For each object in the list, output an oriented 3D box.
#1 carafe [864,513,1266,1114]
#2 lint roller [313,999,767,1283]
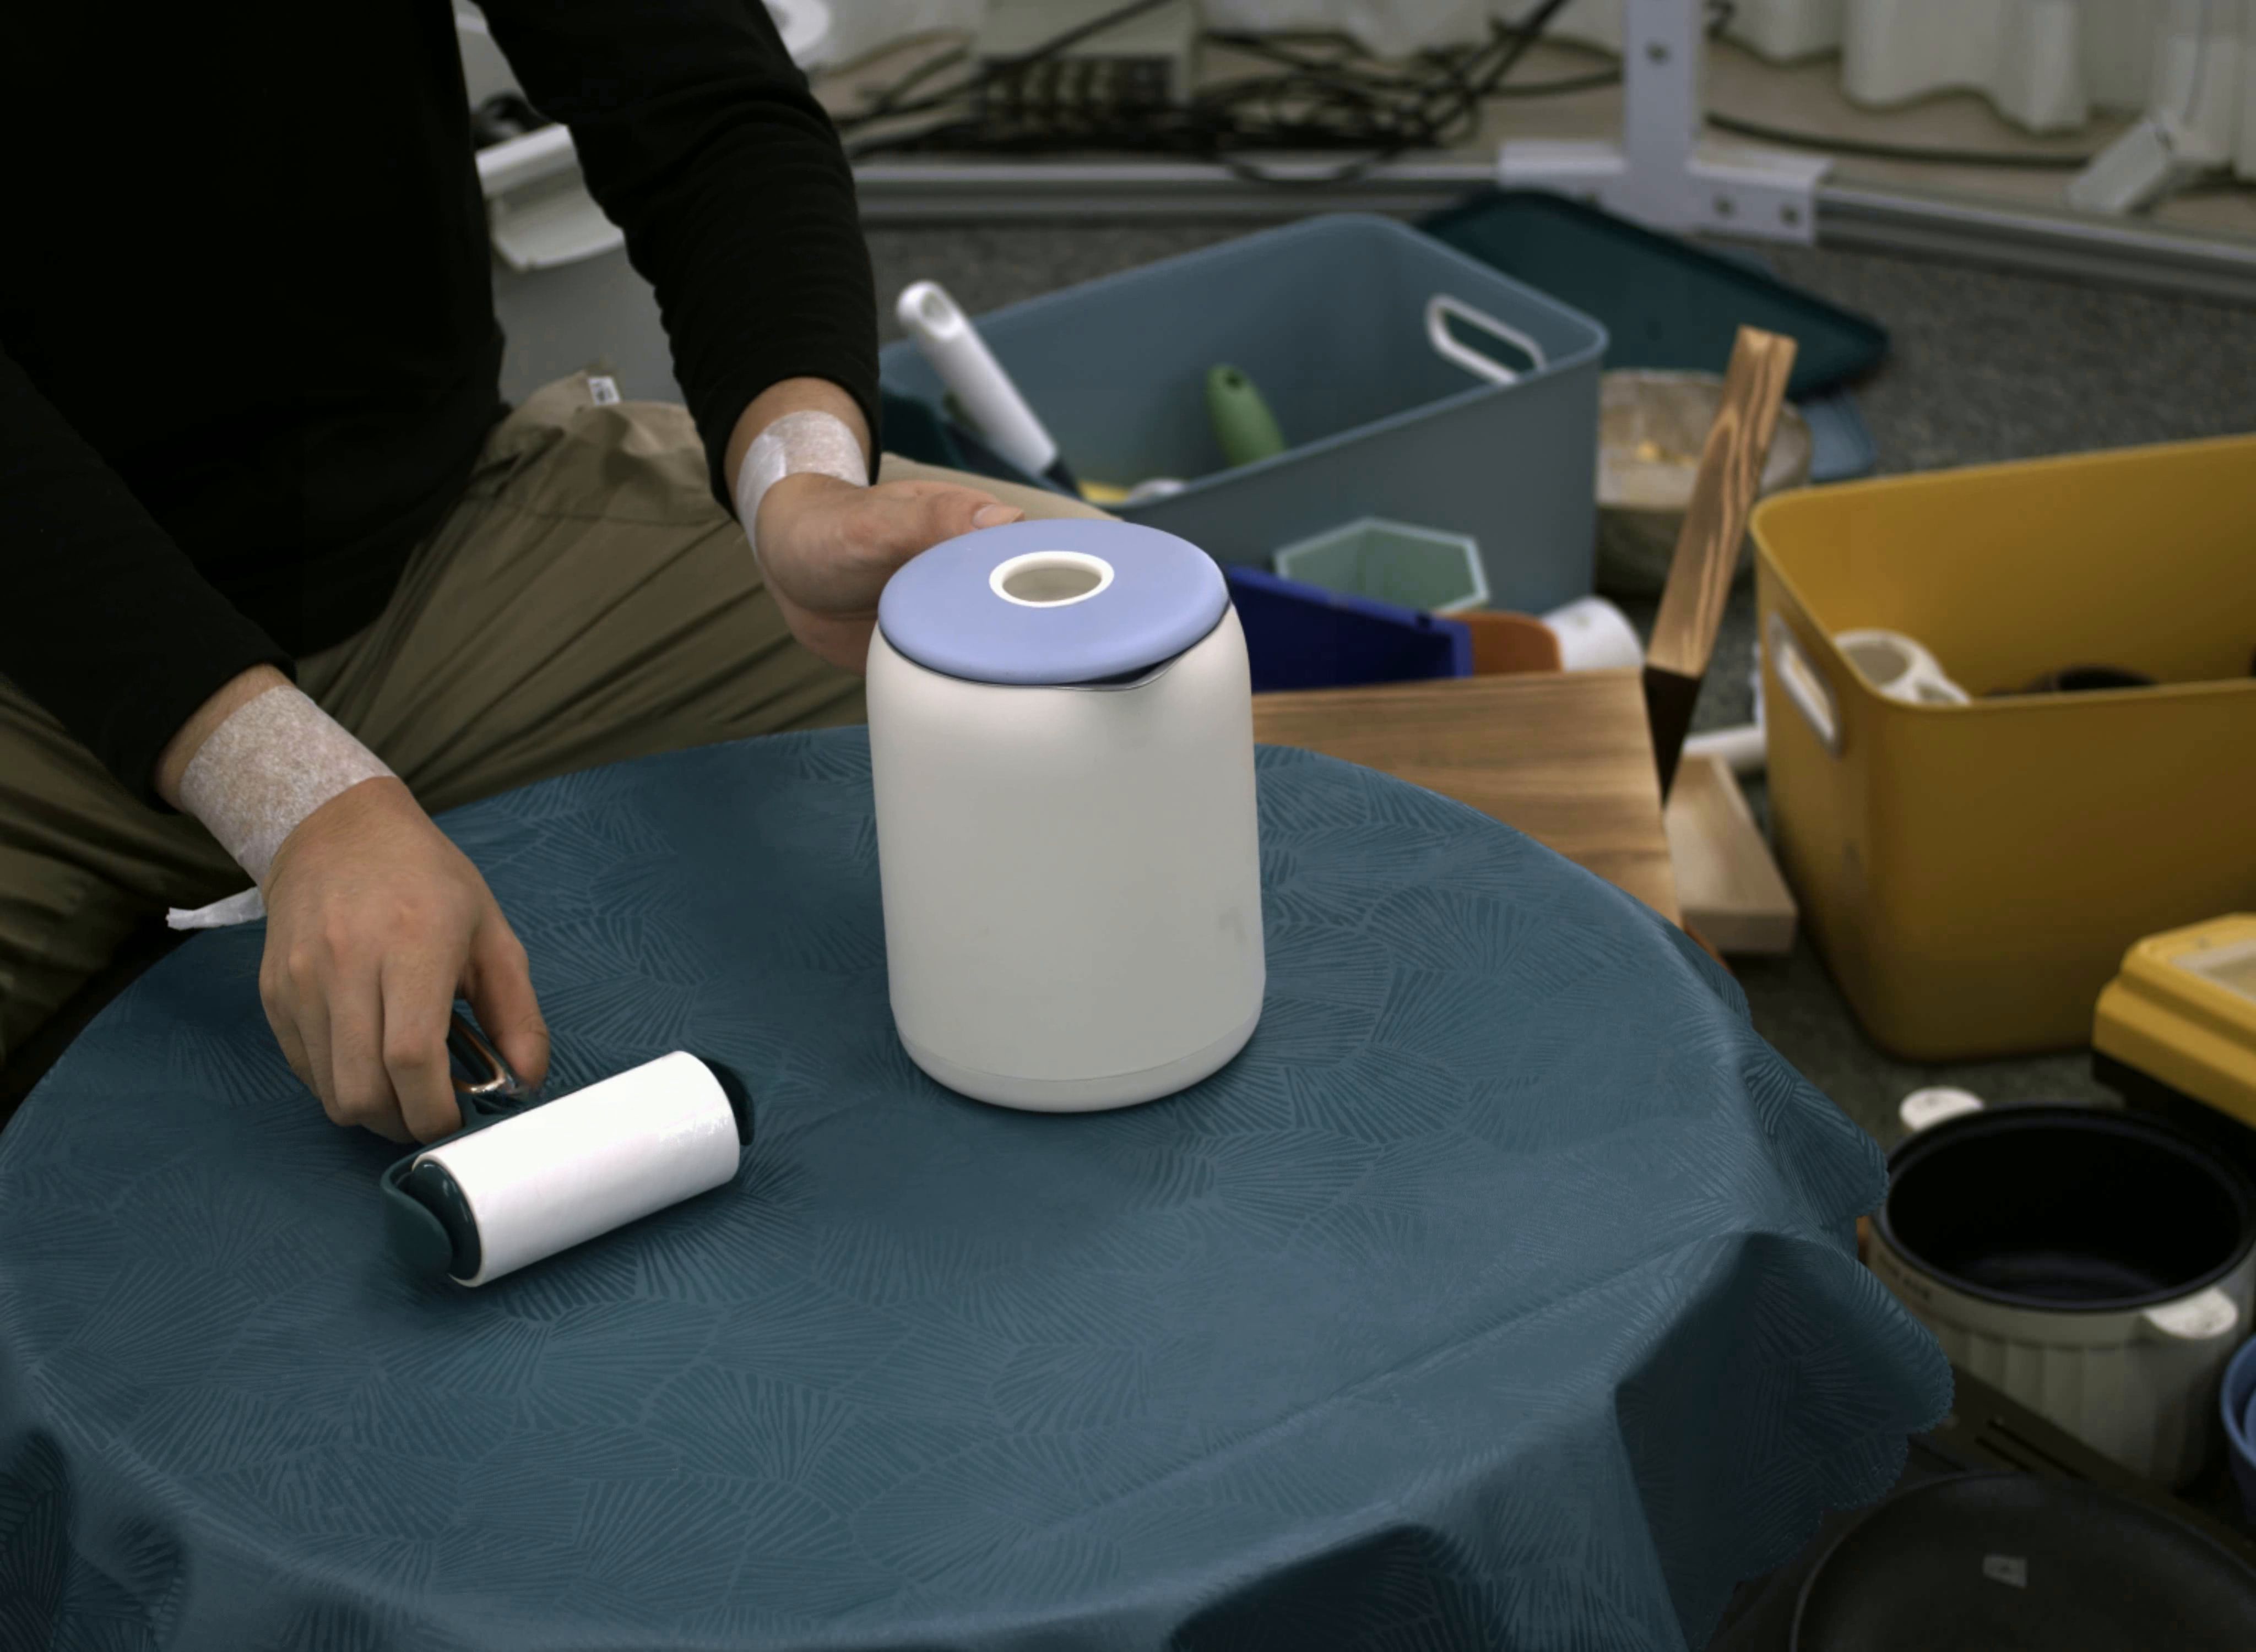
[{"bbox_3d":[-0.032,-0.014,1.942,0.133,0.181,0.192,-14,27,-22],"label":"carafe"},{"bbox_3d":[-0.223,0.084,1.890,0.135,0.048,0.180,-21,37,-32],"label":"lint roller"}]
